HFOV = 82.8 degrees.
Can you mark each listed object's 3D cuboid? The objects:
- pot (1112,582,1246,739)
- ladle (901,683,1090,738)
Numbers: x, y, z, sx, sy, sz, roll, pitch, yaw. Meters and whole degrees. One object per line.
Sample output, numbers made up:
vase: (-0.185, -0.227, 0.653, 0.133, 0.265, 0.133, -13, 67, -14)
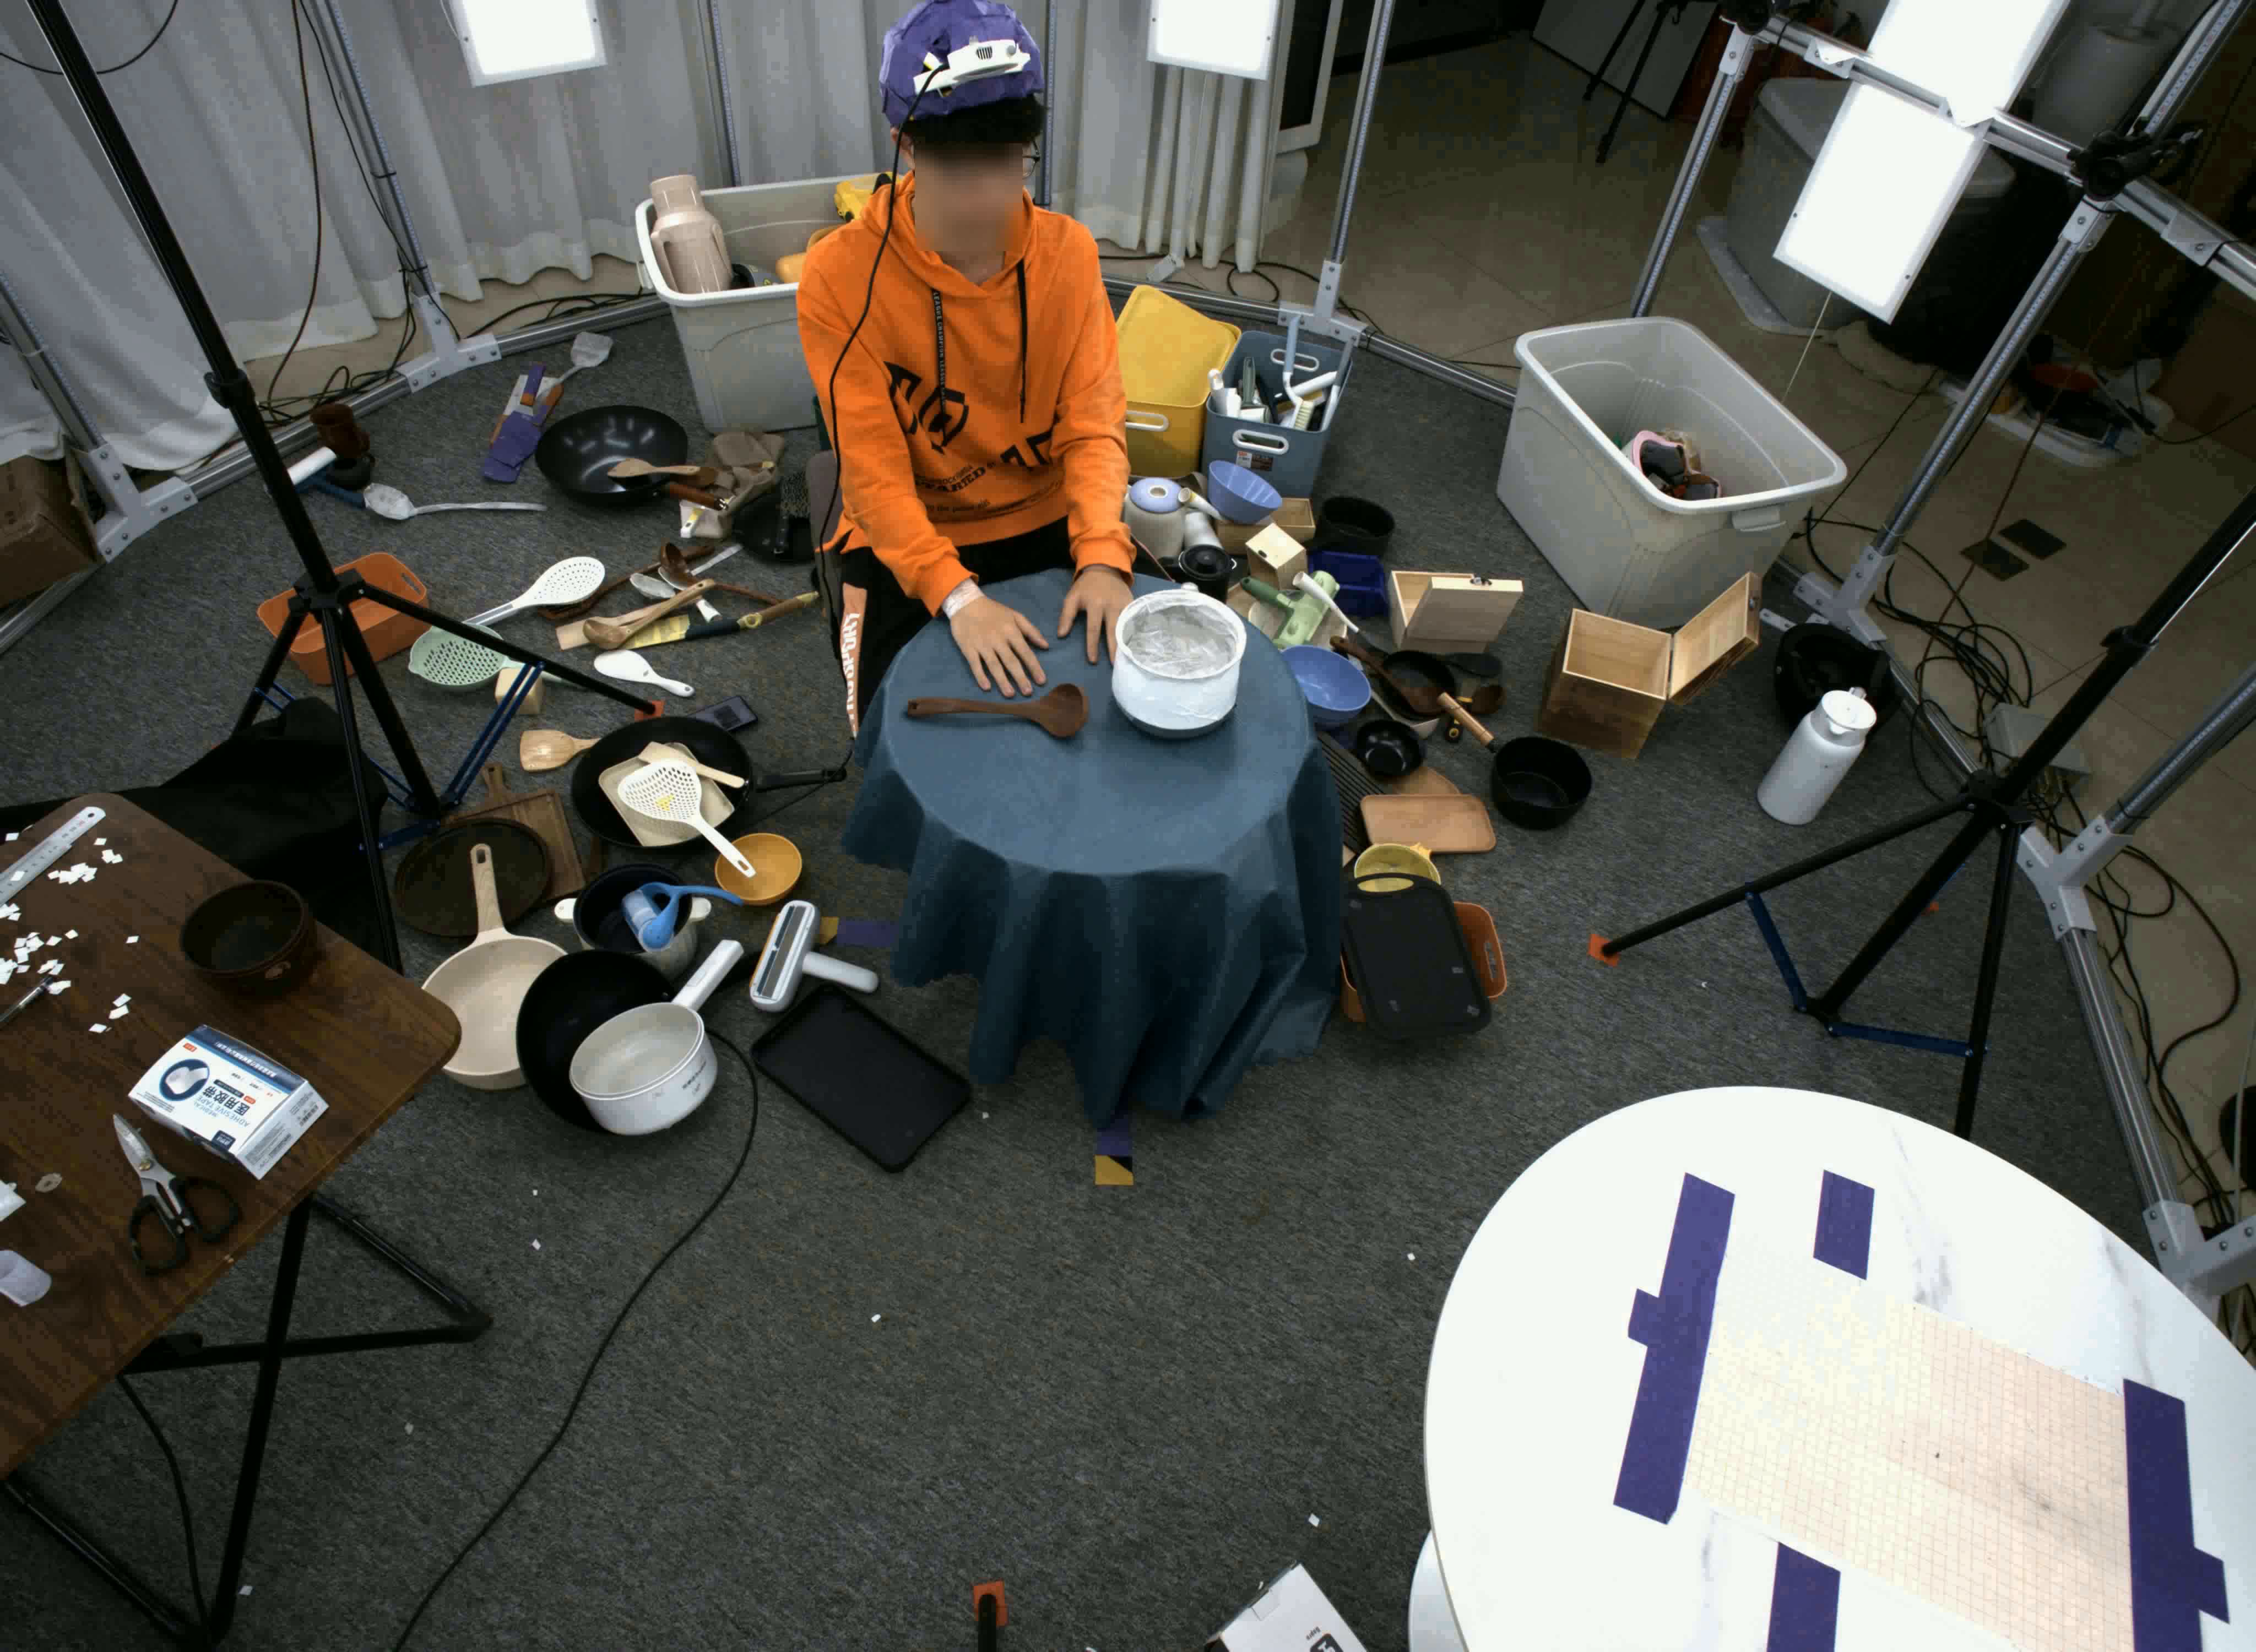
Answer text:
pot: (0.071, -0.241, 1.794, 0.179, 0.133, 0.239, 8, 49, 2)
ladle: (-0.182, -0.163, 1.759, 0.260, 0.064, 0.077, 3, 73, -2)
